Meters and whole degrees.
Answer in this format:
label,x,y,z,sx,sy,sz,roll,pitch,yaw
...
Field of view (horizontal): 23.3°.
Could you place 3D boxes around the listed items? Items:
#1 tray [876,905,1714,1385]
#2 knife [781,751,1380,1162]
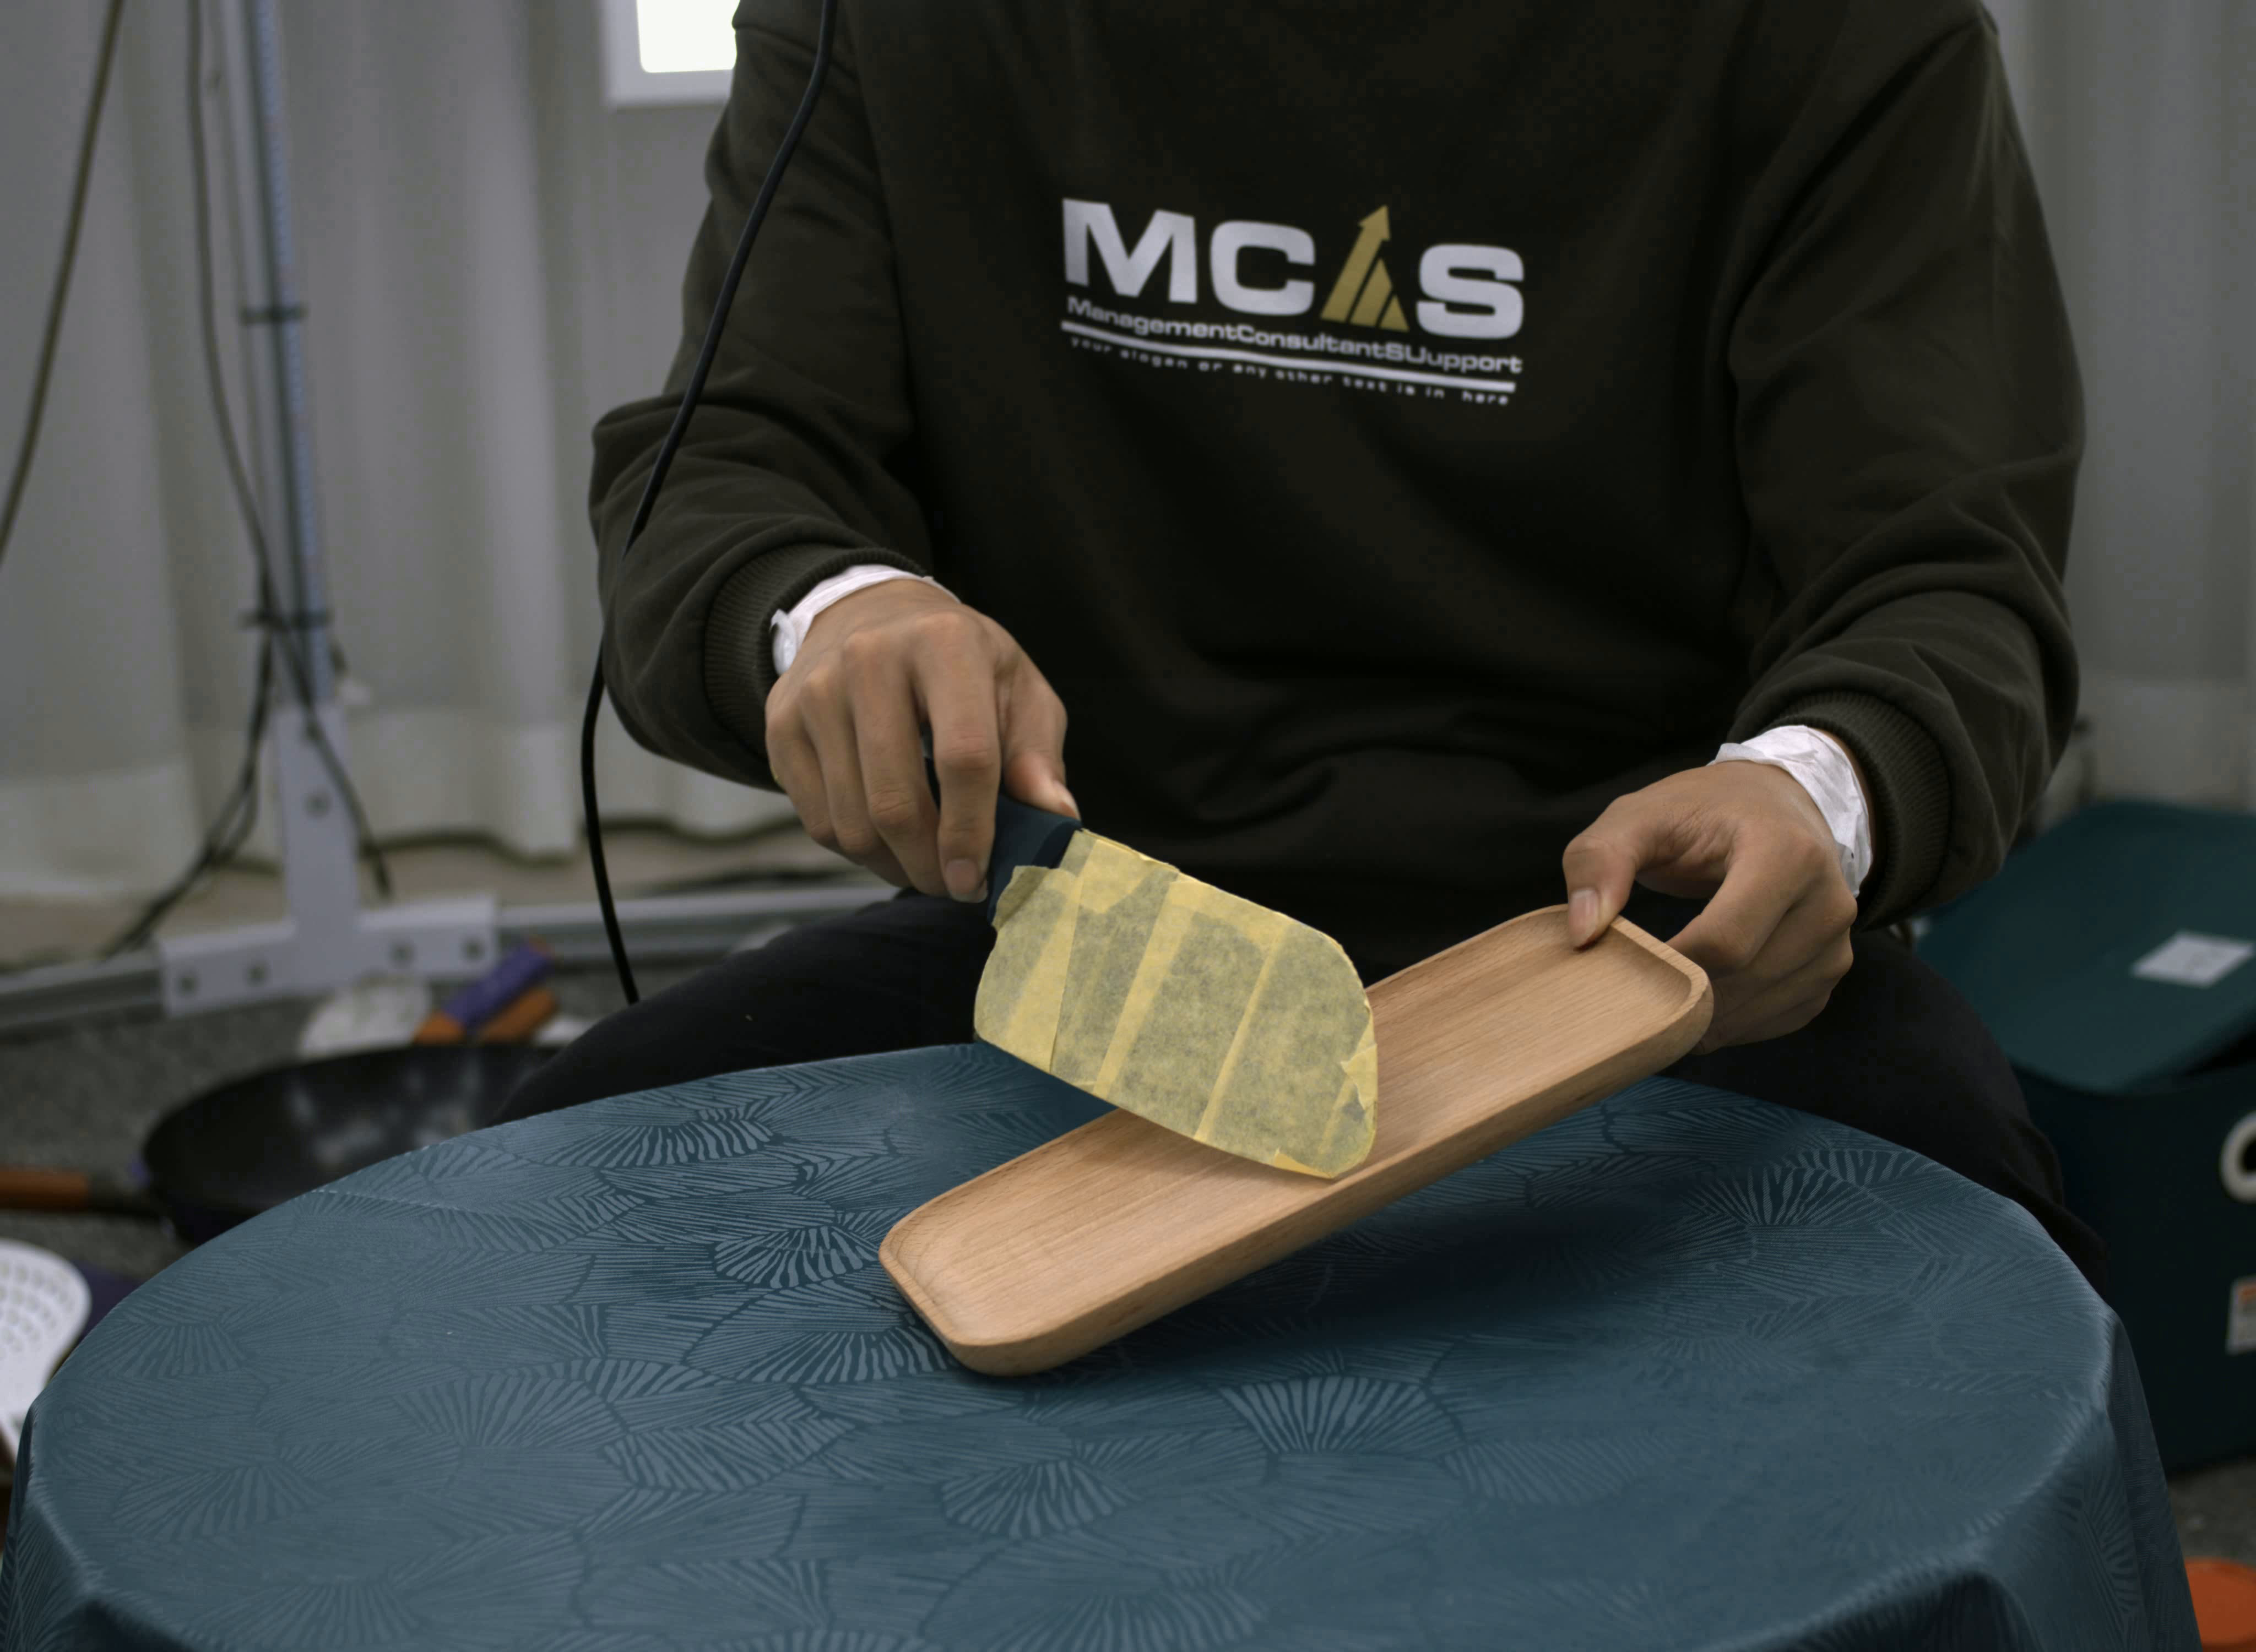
label,x,y,z,sx,sy,sz,roll,pitch,yaw
tray,0.049,0.093,1.619,0.250,0.023,0.131,-26,17,-11
knife,-0.020,0.036,1.676,0.027,0.081,0.292,25,1,-44
